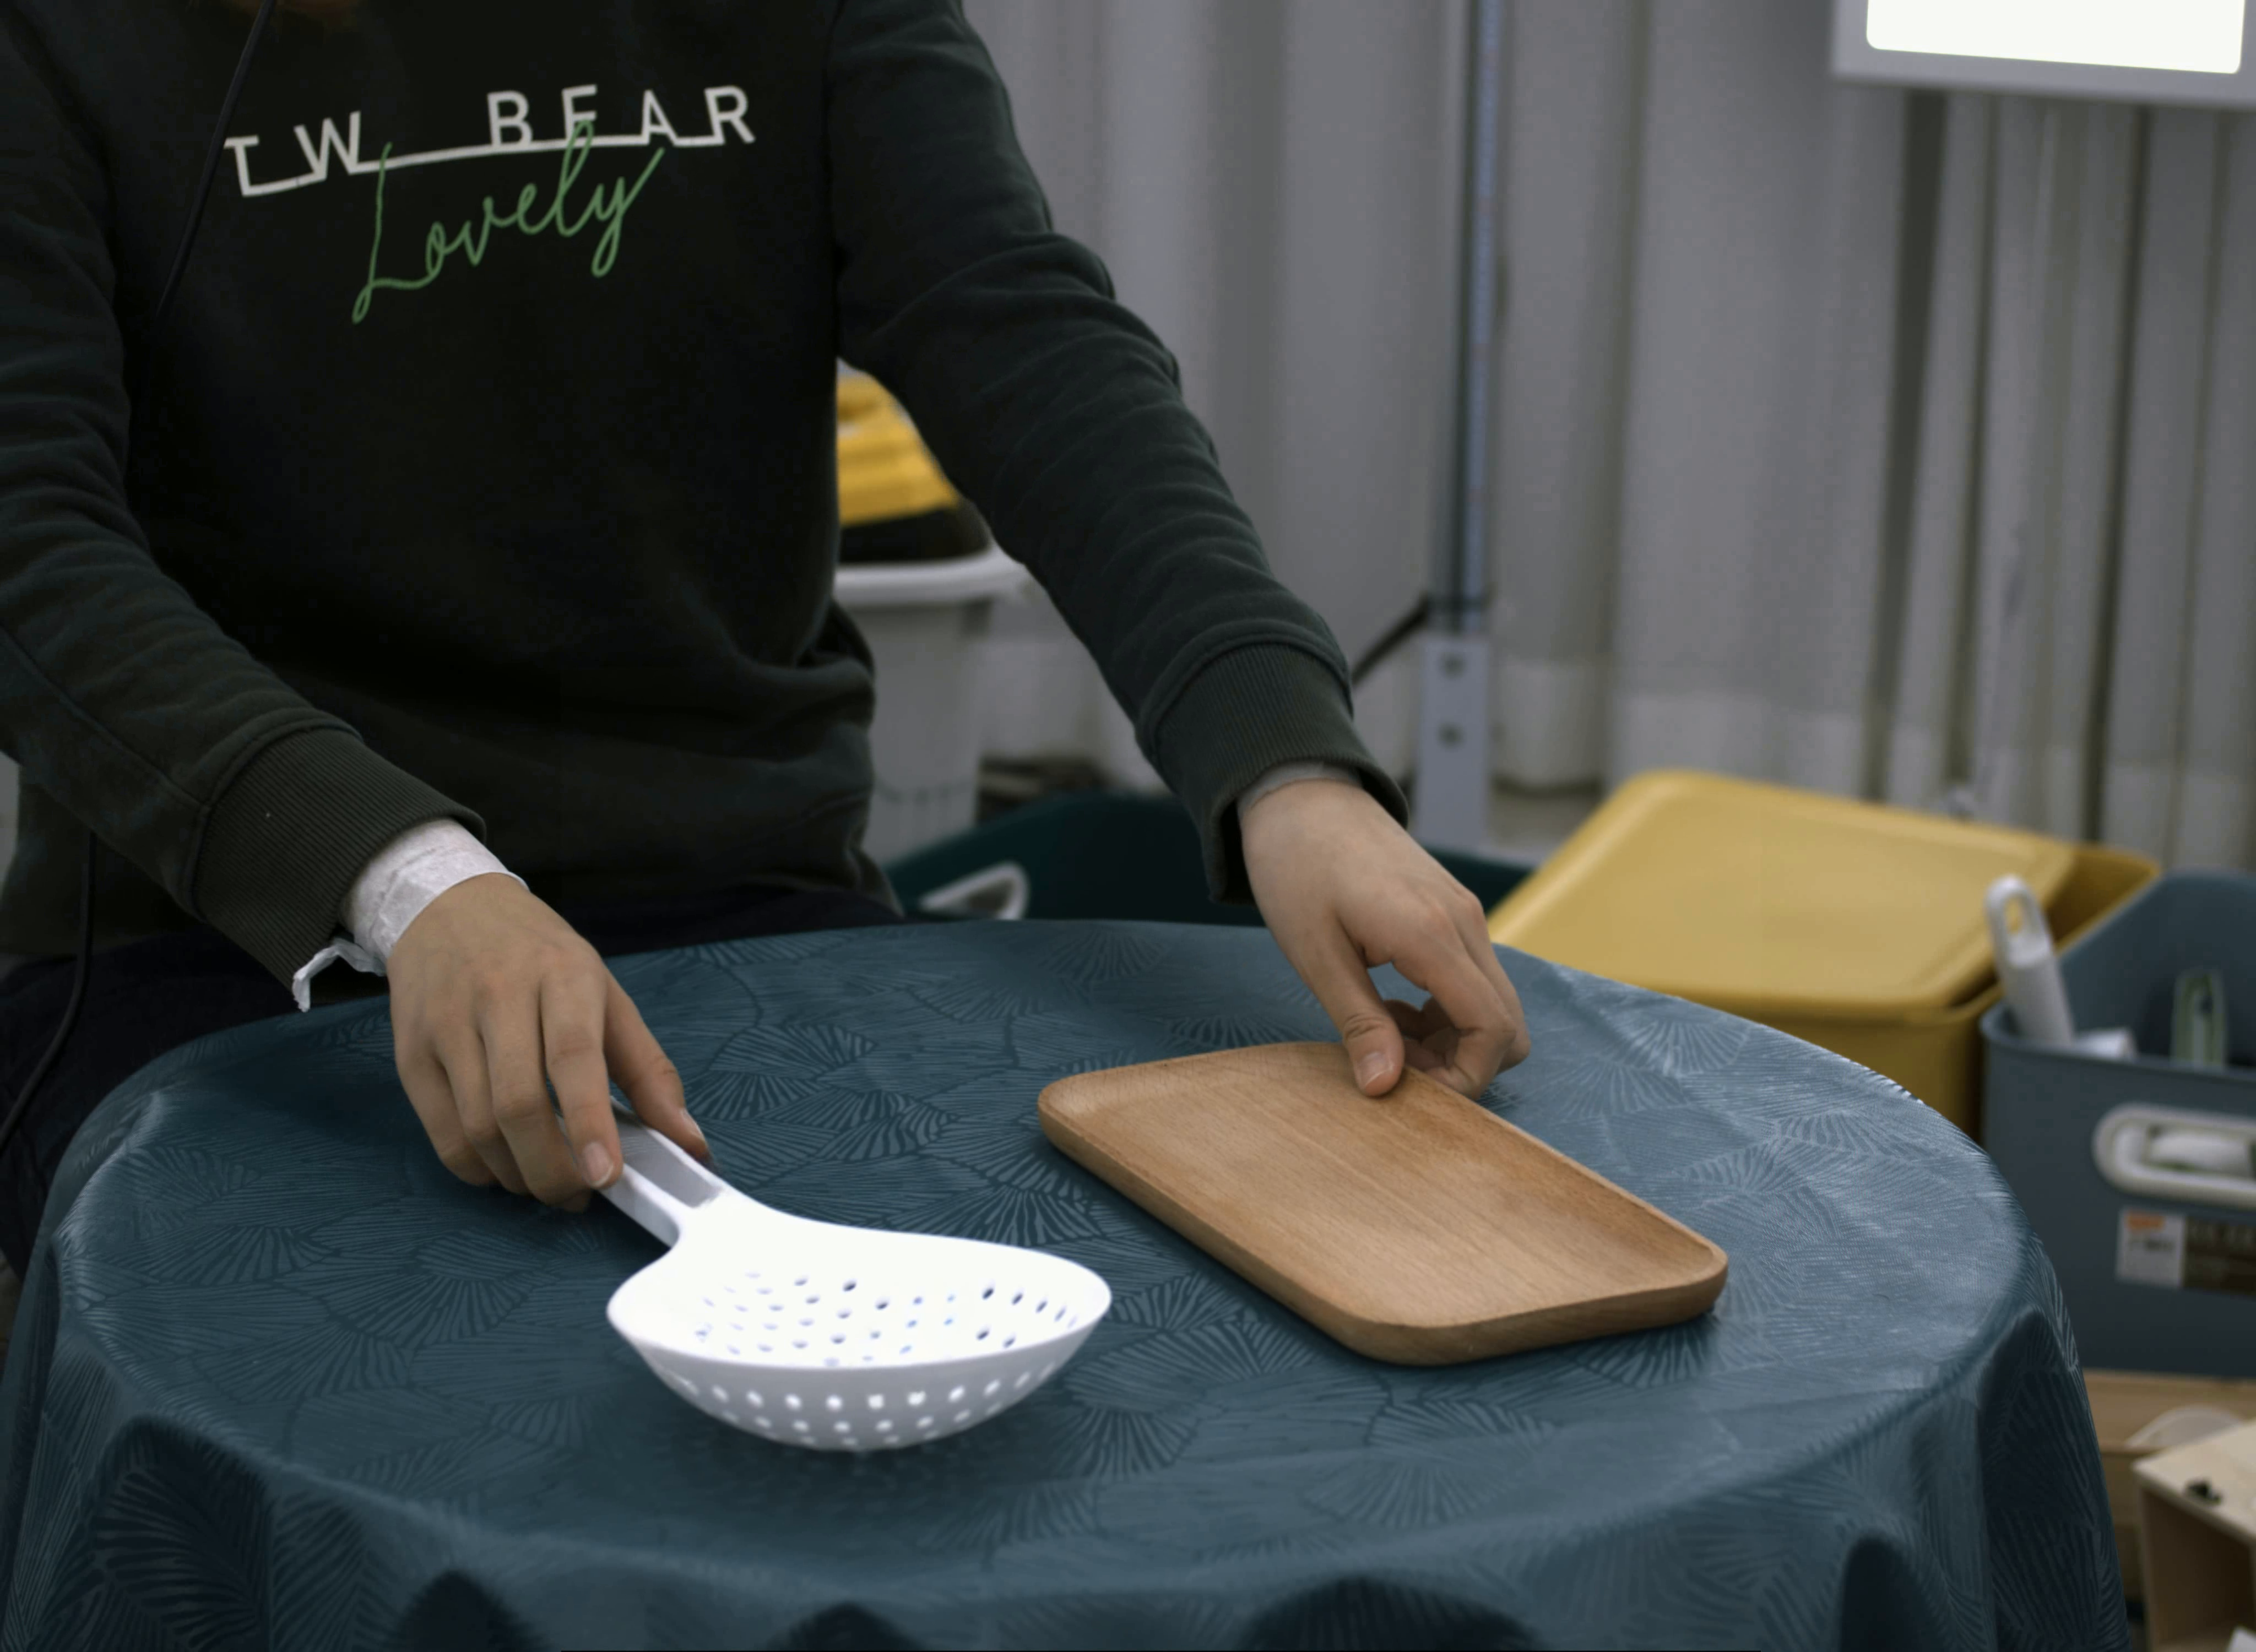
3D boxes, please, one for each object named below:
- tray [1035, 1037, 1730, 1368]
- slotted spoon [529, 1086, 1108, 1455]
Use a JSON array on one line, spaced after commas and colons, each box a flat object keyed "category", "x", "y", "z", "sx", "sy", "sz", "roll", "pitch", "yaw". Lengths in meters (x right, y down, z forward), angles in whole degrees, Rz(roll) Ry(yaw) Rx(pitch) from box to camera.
[{"category": "tray", "x": 0.073, "y": 0.111, "z": 1.603, "sx": 0.131, "sy": 0.023, "sz": 0.247, "roll": -5, "pitch": 16, "yaw": -26}, {"category": "slotted spoon", "x": -0.114, "y": 0.118, "z": 1.518, "sx": 0.136, "sy": 0.046, "sz": 0.346, "roll": -3, "pitch": 15, "yaw": -22}]
